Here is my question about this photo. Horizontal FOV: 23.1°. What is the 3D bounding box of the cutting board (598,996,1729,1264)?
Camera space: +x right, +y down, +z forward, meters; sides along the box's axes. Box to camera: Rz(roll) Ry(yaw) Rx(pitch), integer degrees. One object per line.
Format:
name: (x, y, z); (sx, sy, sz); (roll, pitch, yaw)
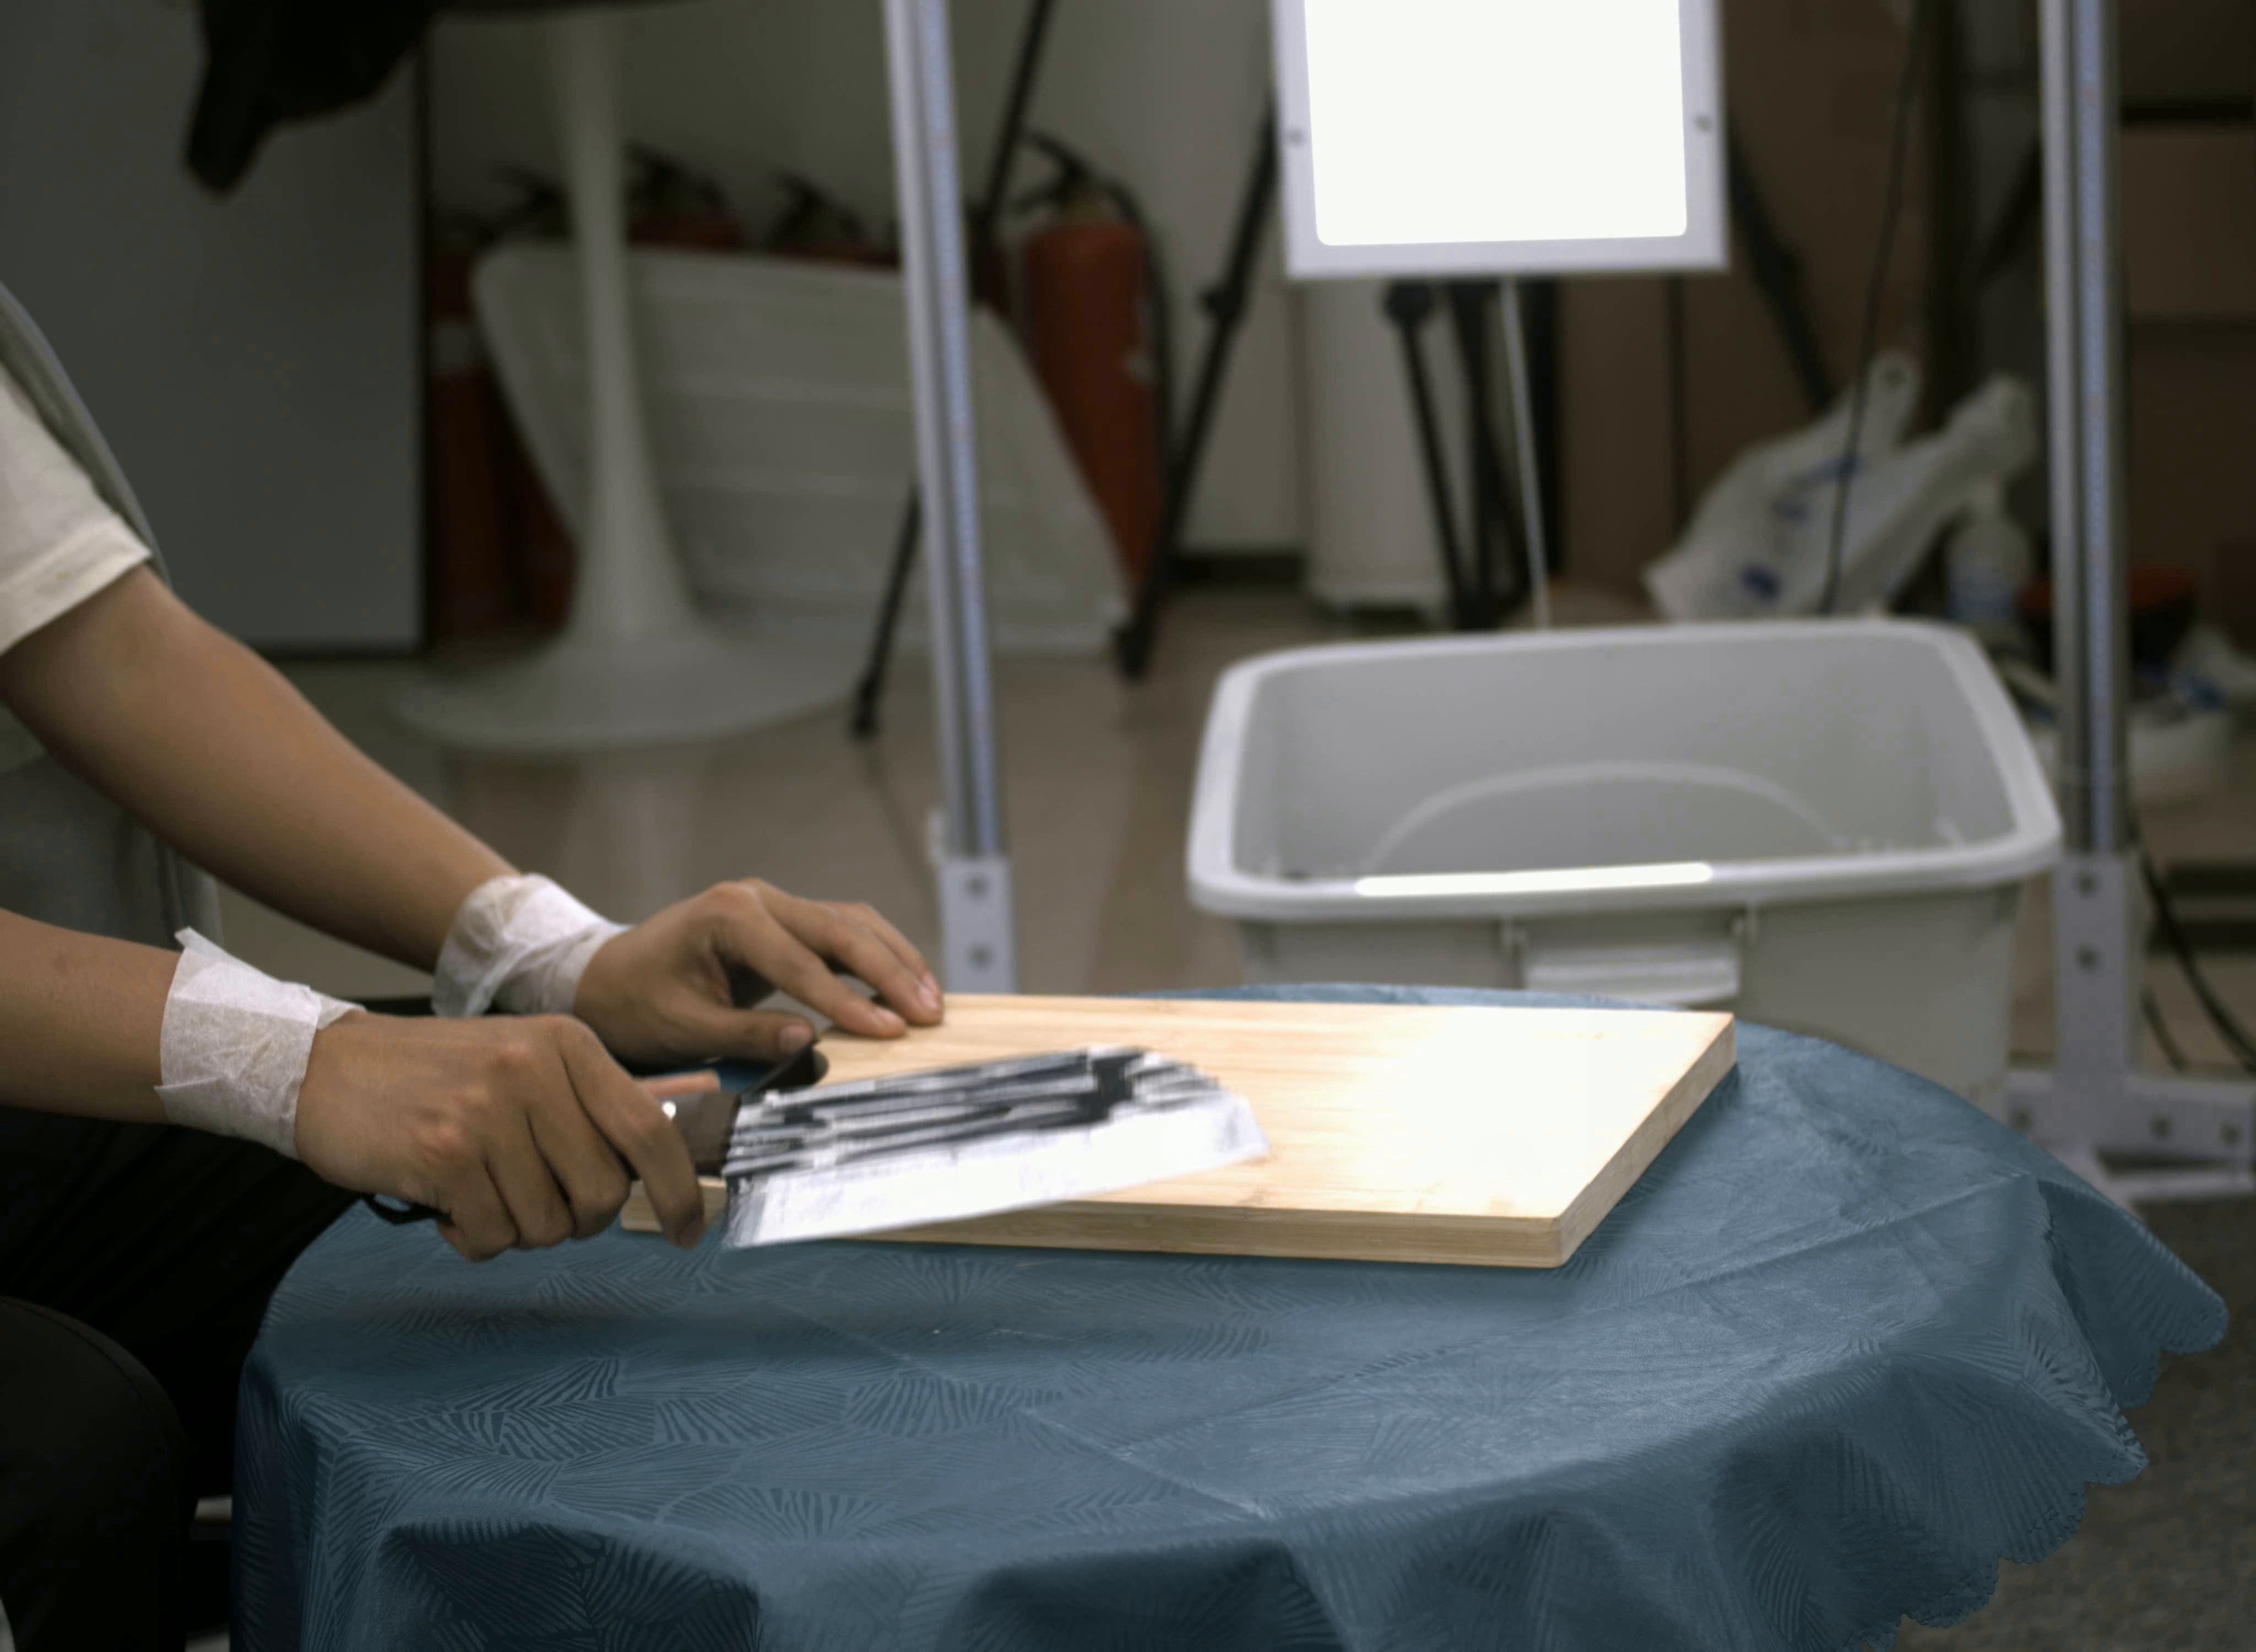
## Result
cutting board: (0.018, 0.104, 1.948); (0.353, 0.023, 0.246); (0, 14, 21)

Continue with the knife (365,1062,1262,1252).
knife: (-0.104, 0.110, 1.781); (0.301, 0.024, 0.068); (-7, 42, 10)
